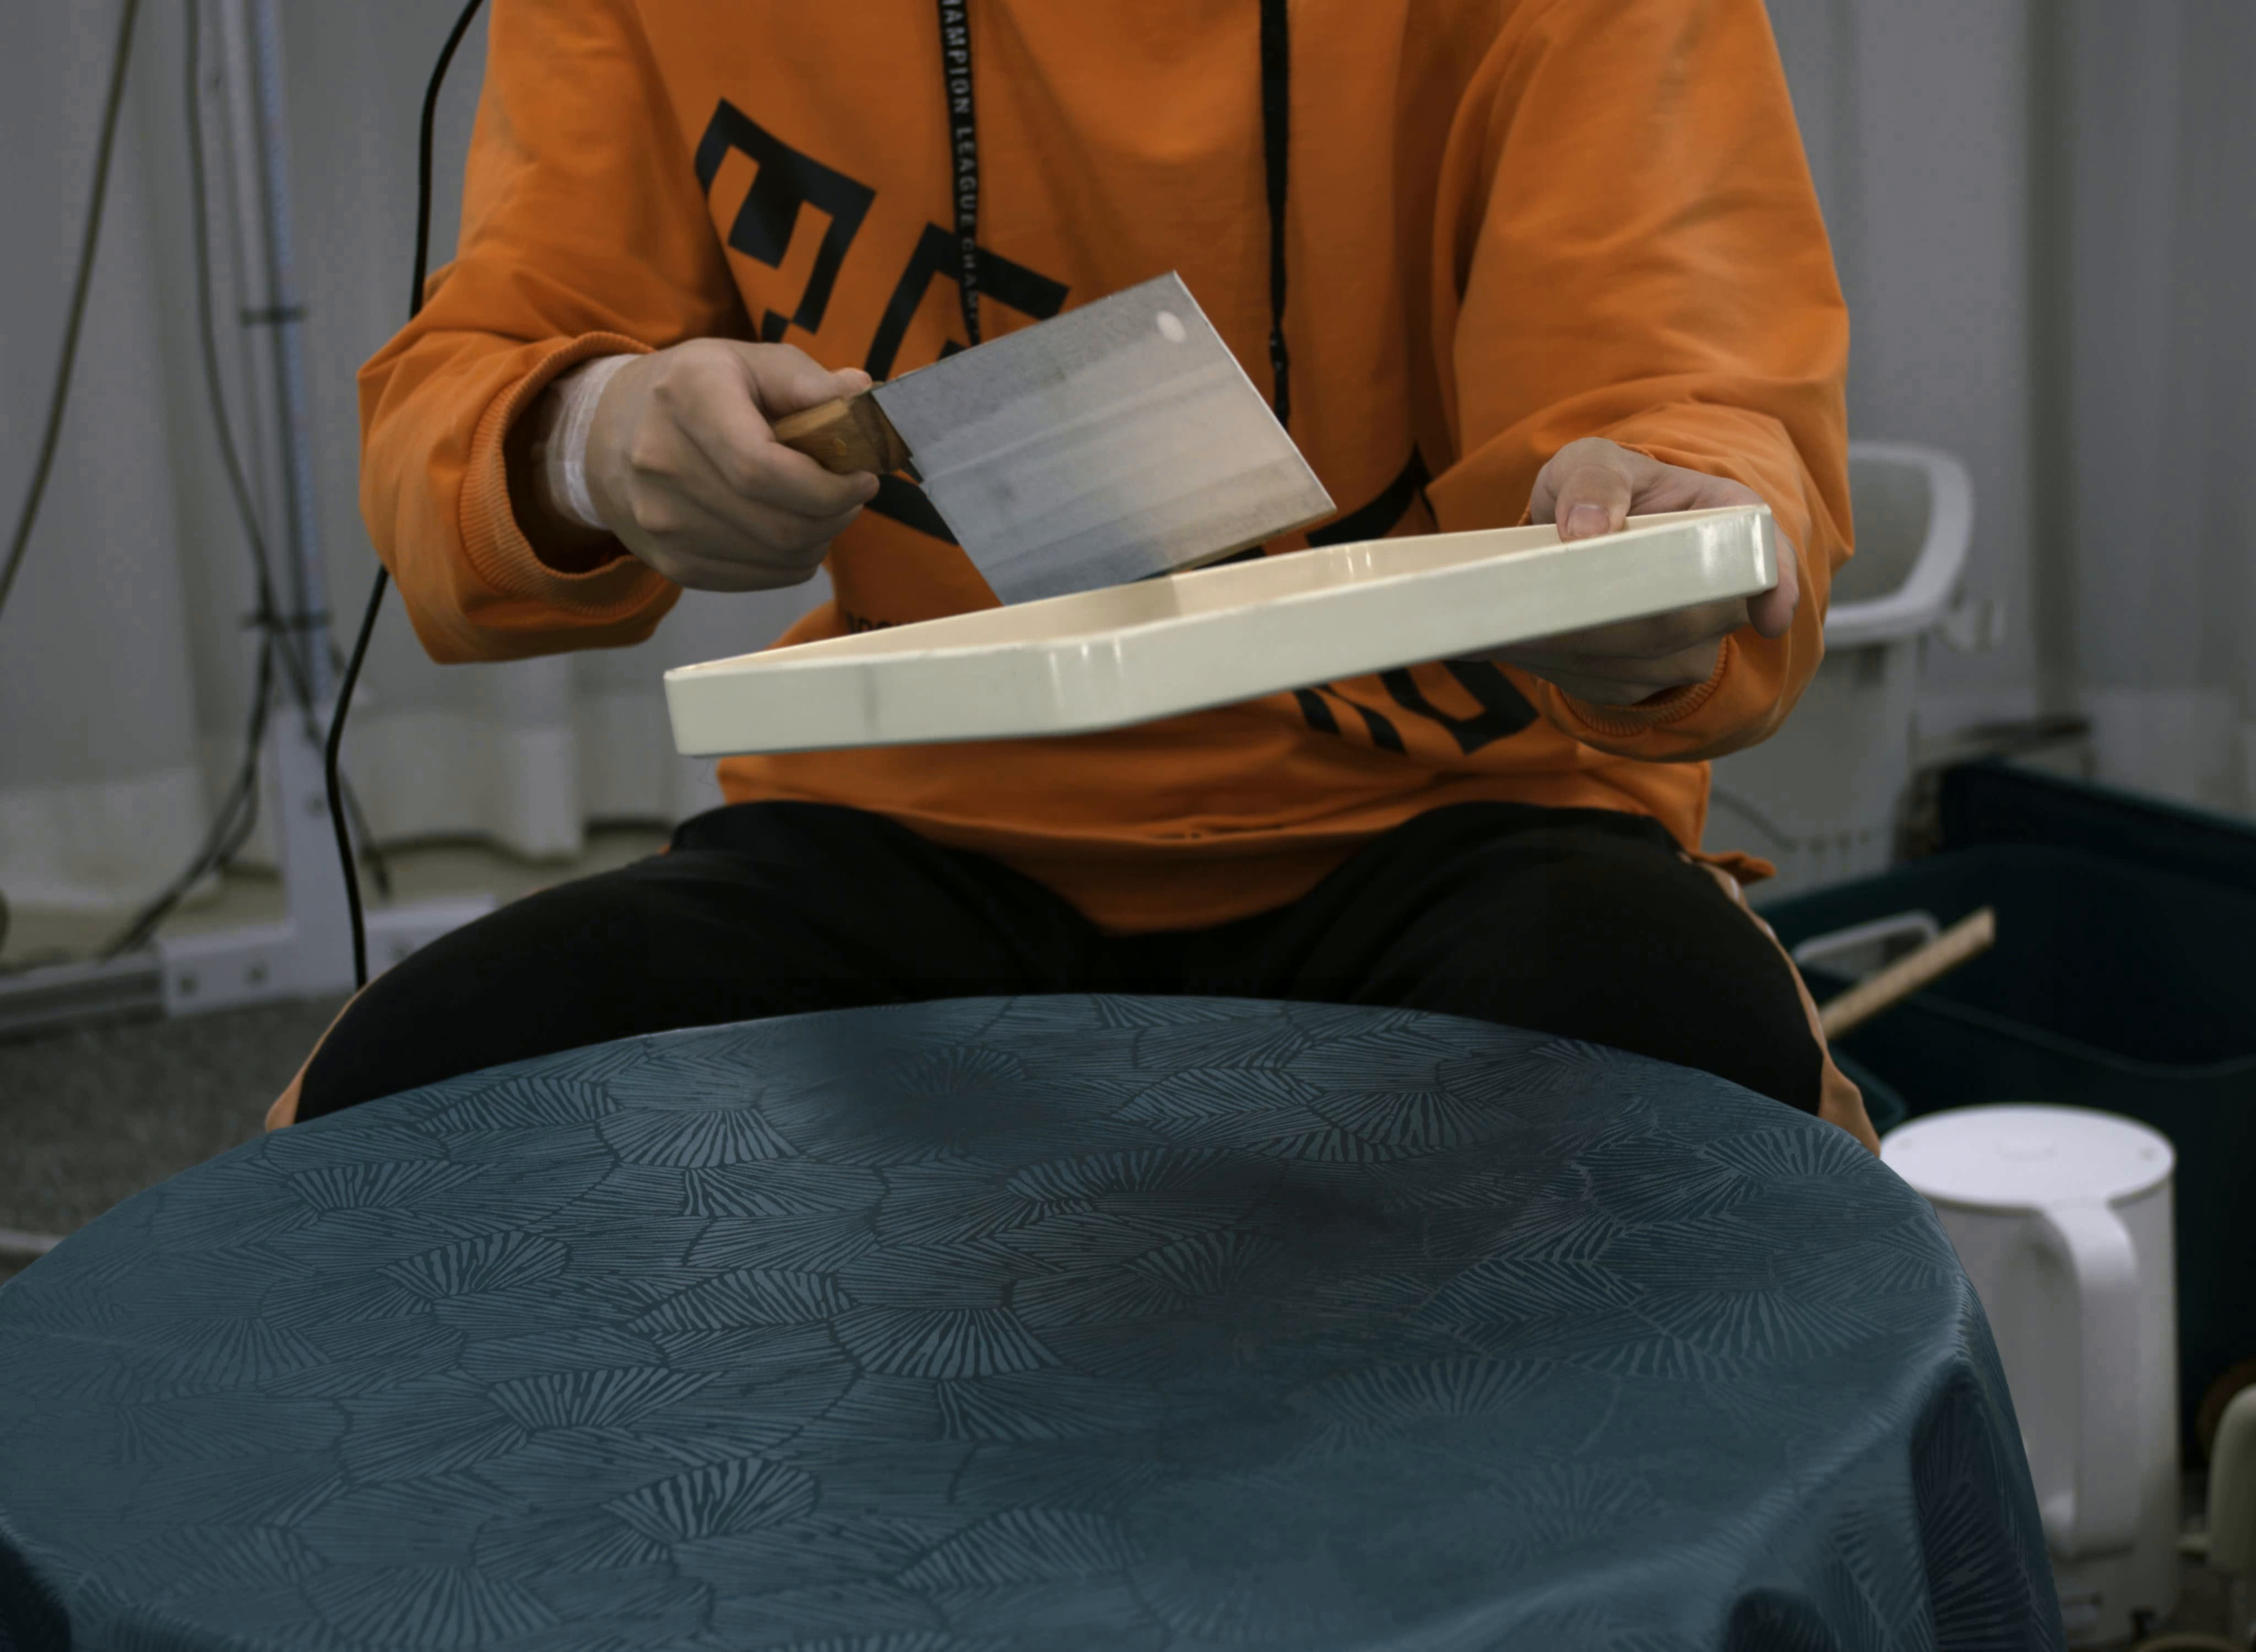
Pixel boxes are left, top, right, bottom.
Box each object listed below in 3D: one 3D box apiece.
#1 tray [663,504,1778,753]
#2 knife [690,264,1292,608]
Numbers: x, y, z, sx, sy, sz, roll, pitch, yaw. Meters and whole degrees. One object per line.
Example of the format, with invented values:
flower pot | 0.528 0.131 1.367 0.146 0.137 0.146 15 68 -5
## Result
tray | 0.031 -0.058 1.609 0.299 0.027 0.192 -13 8 -43
knife | -0.045 -0.112 1.757 0.021 0.092 0.305 -43 15 -30
